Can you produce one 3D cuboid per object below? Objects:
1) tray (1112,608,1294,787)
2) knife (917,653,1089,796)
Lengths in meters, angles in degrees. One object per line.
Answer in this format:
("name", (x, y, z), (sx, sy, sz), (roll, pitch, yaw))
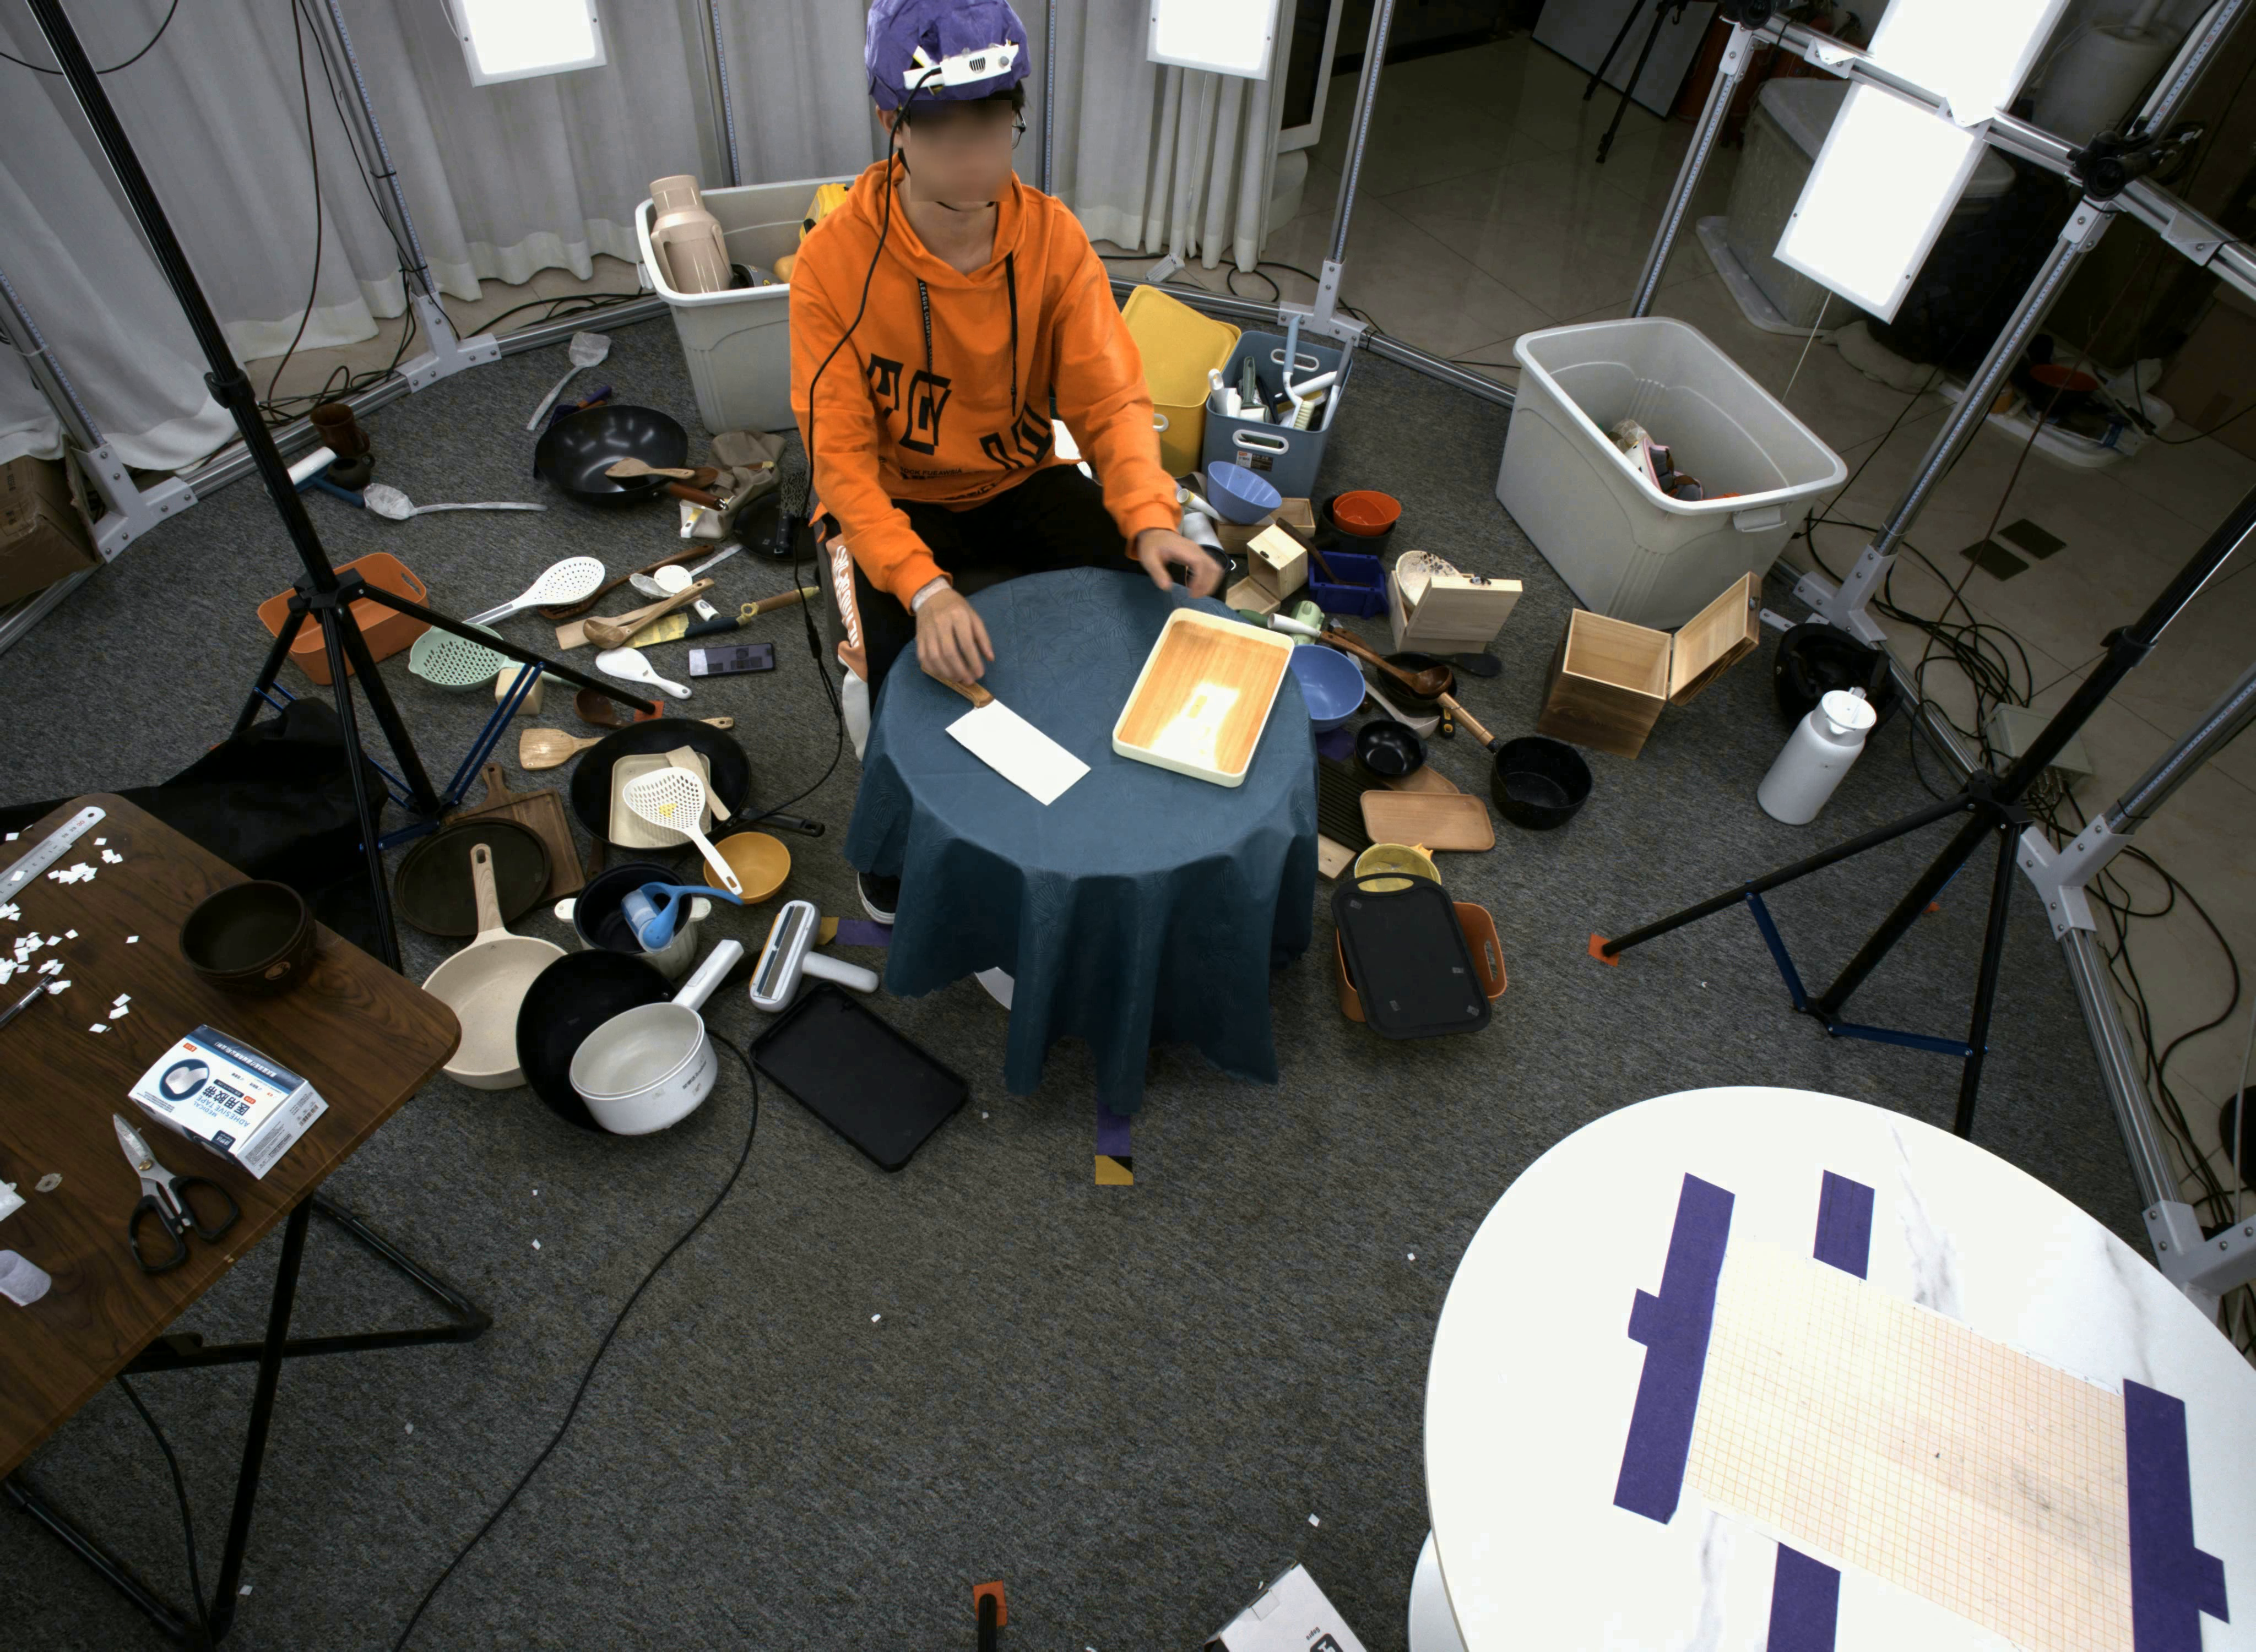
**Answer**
("tray", (0.111, -0.189, 1.823), (0.192, 0.027, 0.306), (16, 50, 10))
("knife", (-0.192, -0.138, 1.765), (0.309, 0.020, 0.094), (36, 57, 22))
